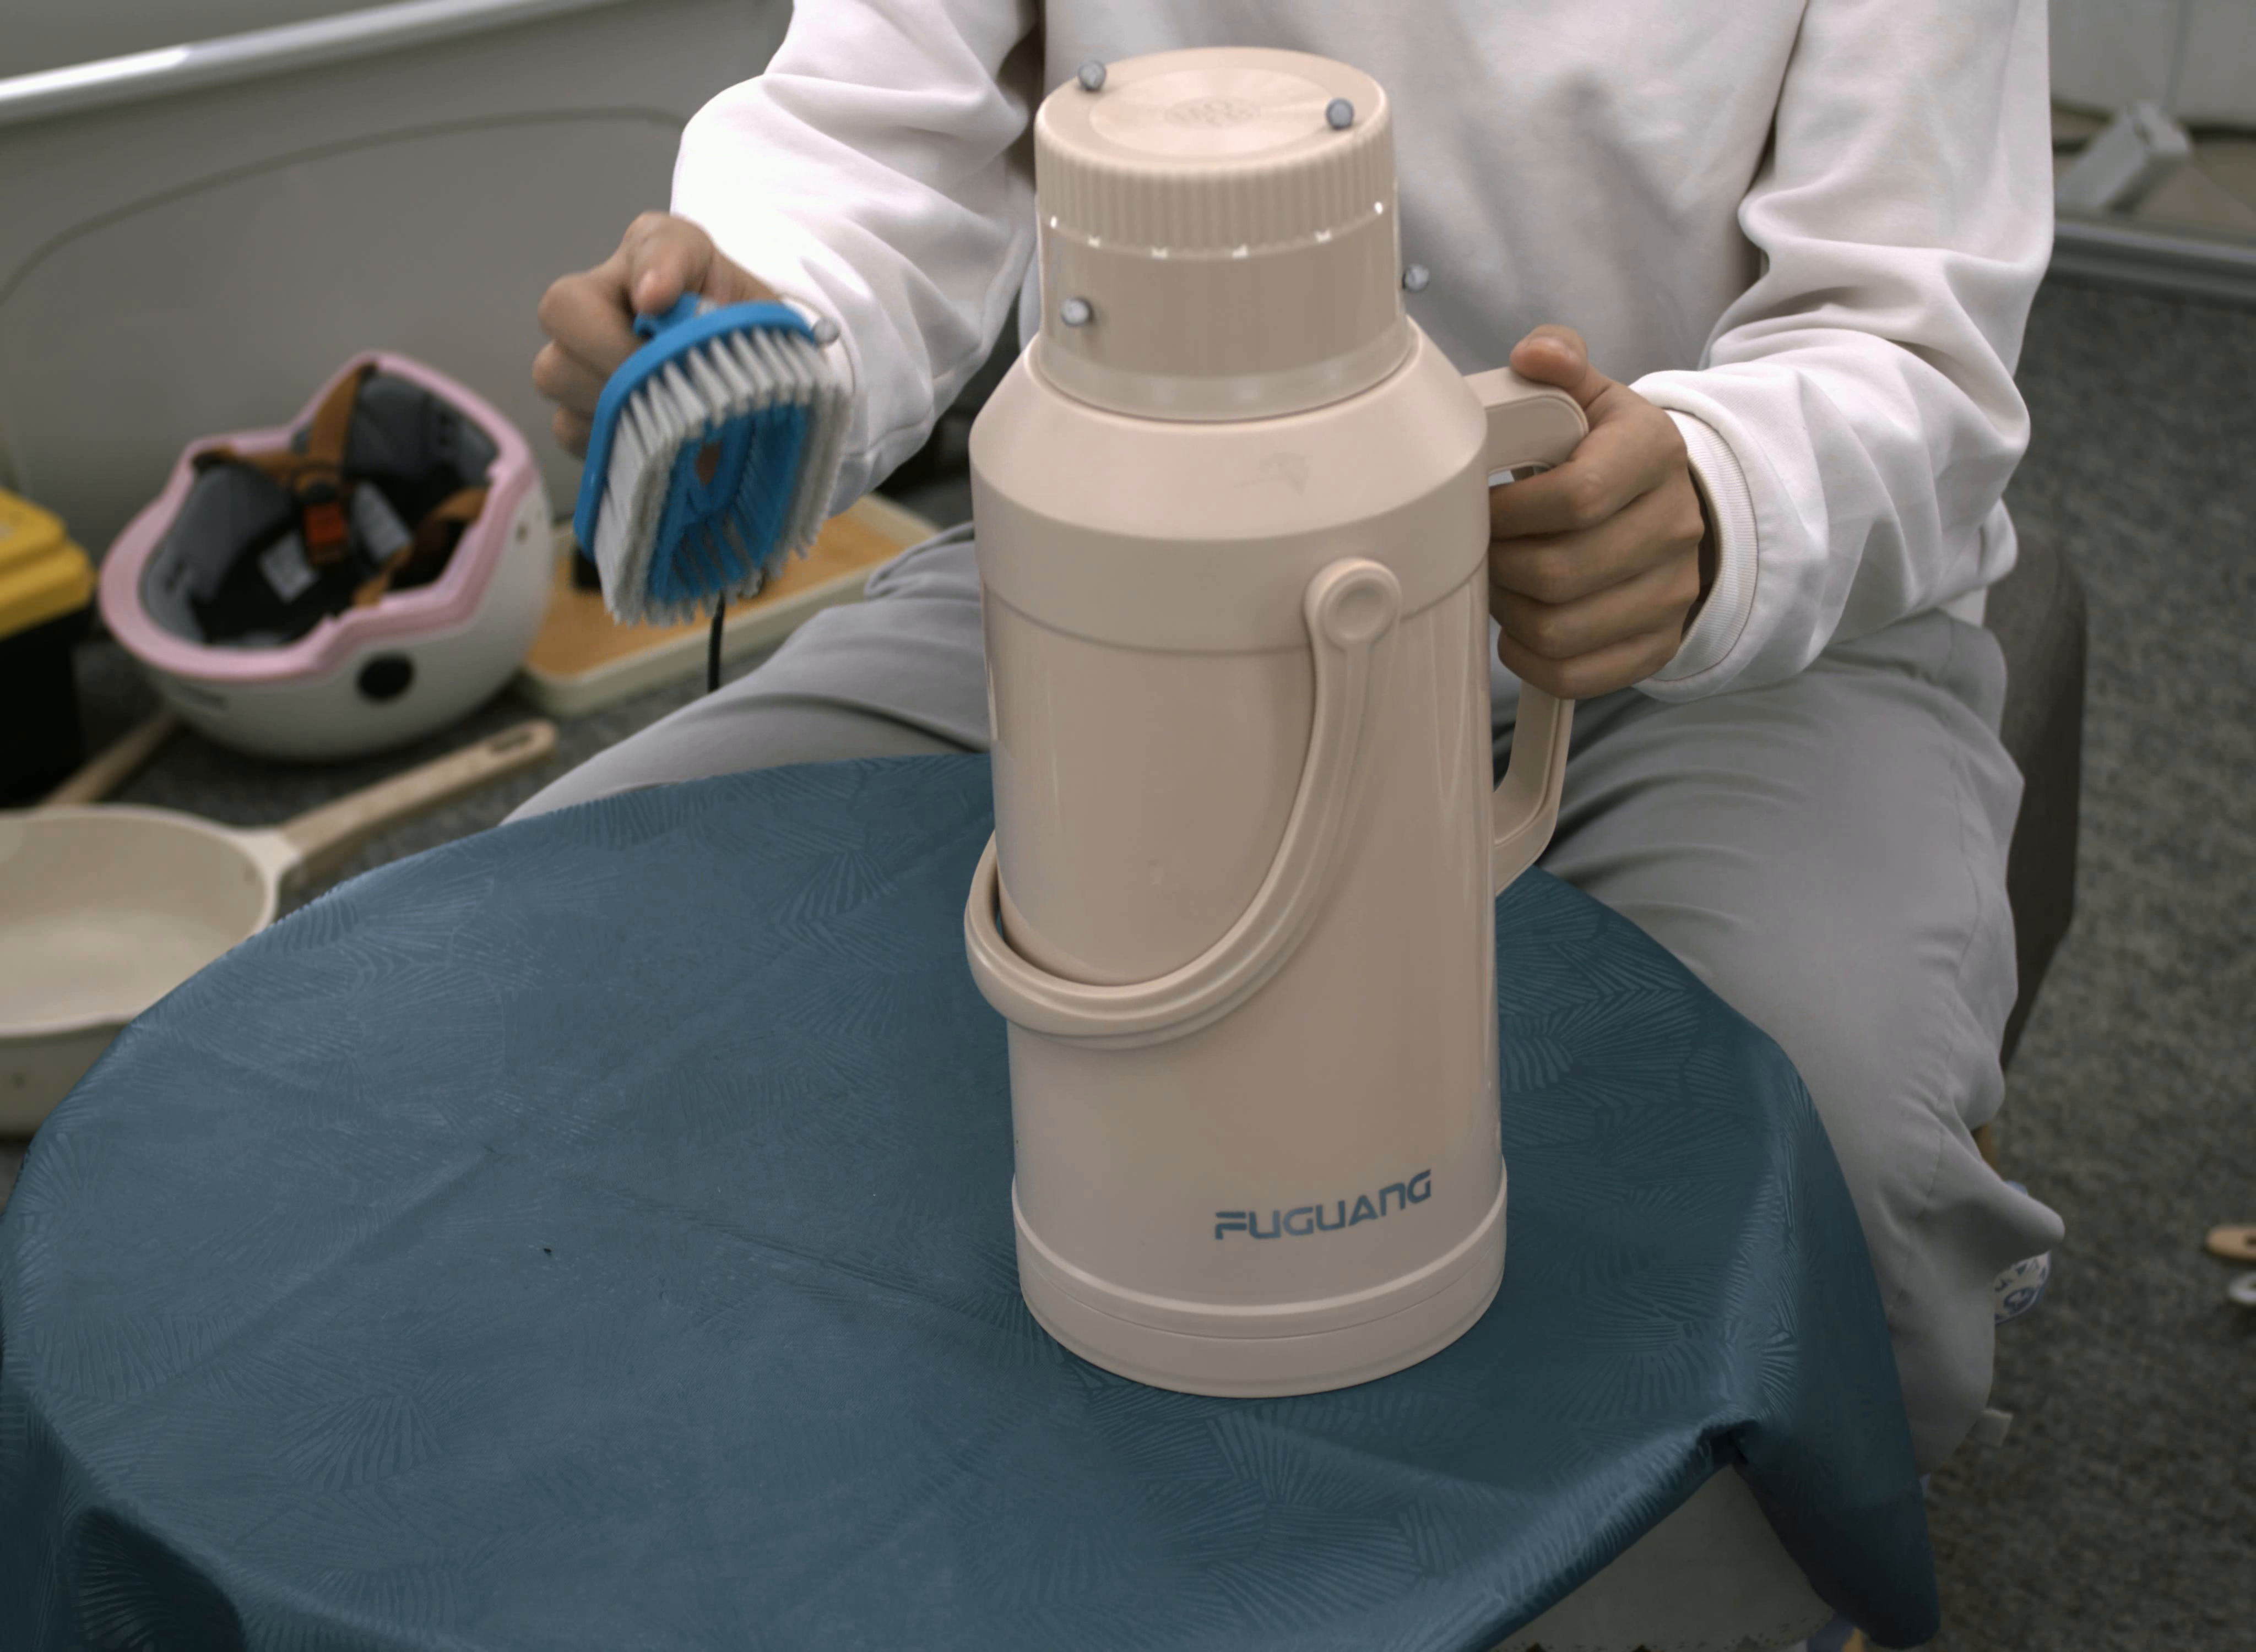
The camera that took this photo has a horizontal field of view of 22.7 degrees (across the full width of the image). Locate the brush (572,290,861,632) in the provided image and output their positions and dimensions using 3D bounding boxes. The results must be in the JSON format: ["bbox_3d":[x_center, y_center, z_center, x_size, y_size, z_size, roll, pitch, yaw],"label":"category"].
[{"bbox_3d":[-0.137,-0.123,1.761,0.085,0.139,0.064,-26,69,-22],"label":"brush"}]

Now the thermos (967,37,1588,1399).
[{"bbox_3d":[0.048,-0.036,1.739,0.208,0.402,0.176,-14,27,-22],"label":"thermos"}]
